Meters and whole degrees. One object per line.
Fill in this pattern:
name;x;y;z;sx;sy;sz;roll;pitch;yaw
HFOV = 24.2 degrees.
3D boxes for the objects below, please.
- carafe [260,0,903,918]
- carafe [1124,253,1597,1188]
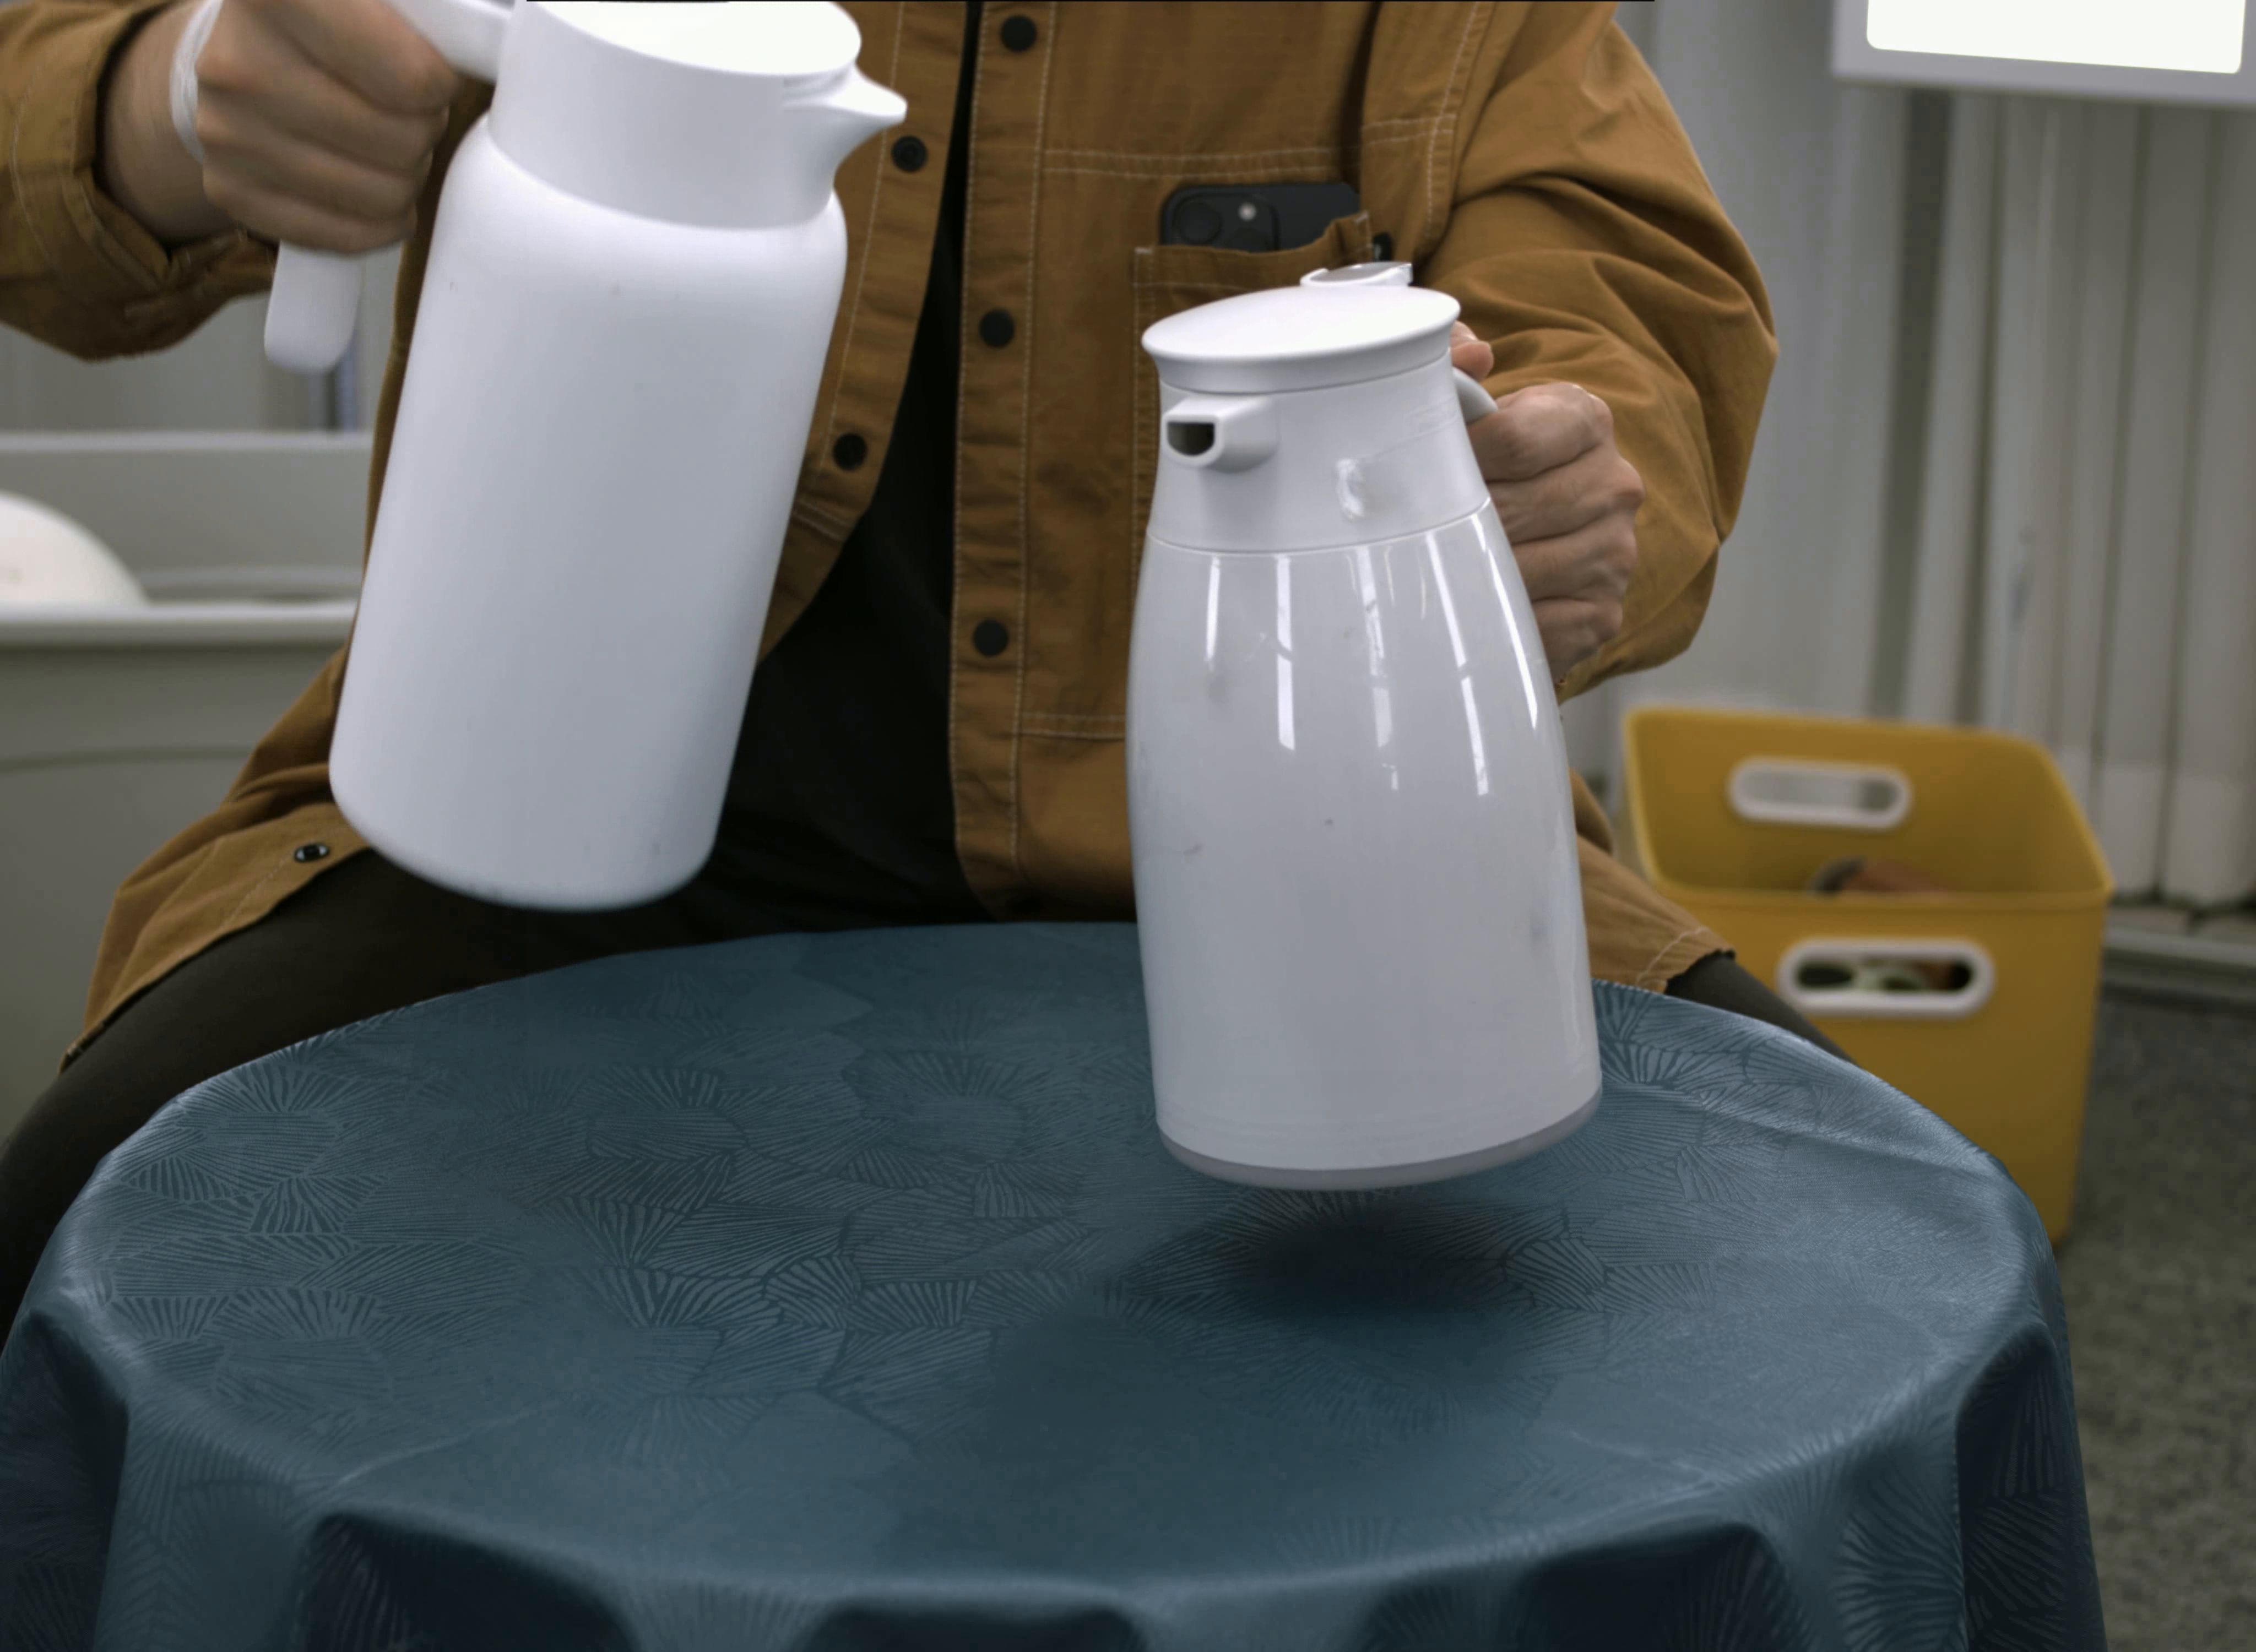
carafe;-0.169;-0.119;1.516;0.171;0.271;0.123;20;28;11
carafe;0.070;-0.039;1.536;0.131;0.251;0.168;4;18;32
